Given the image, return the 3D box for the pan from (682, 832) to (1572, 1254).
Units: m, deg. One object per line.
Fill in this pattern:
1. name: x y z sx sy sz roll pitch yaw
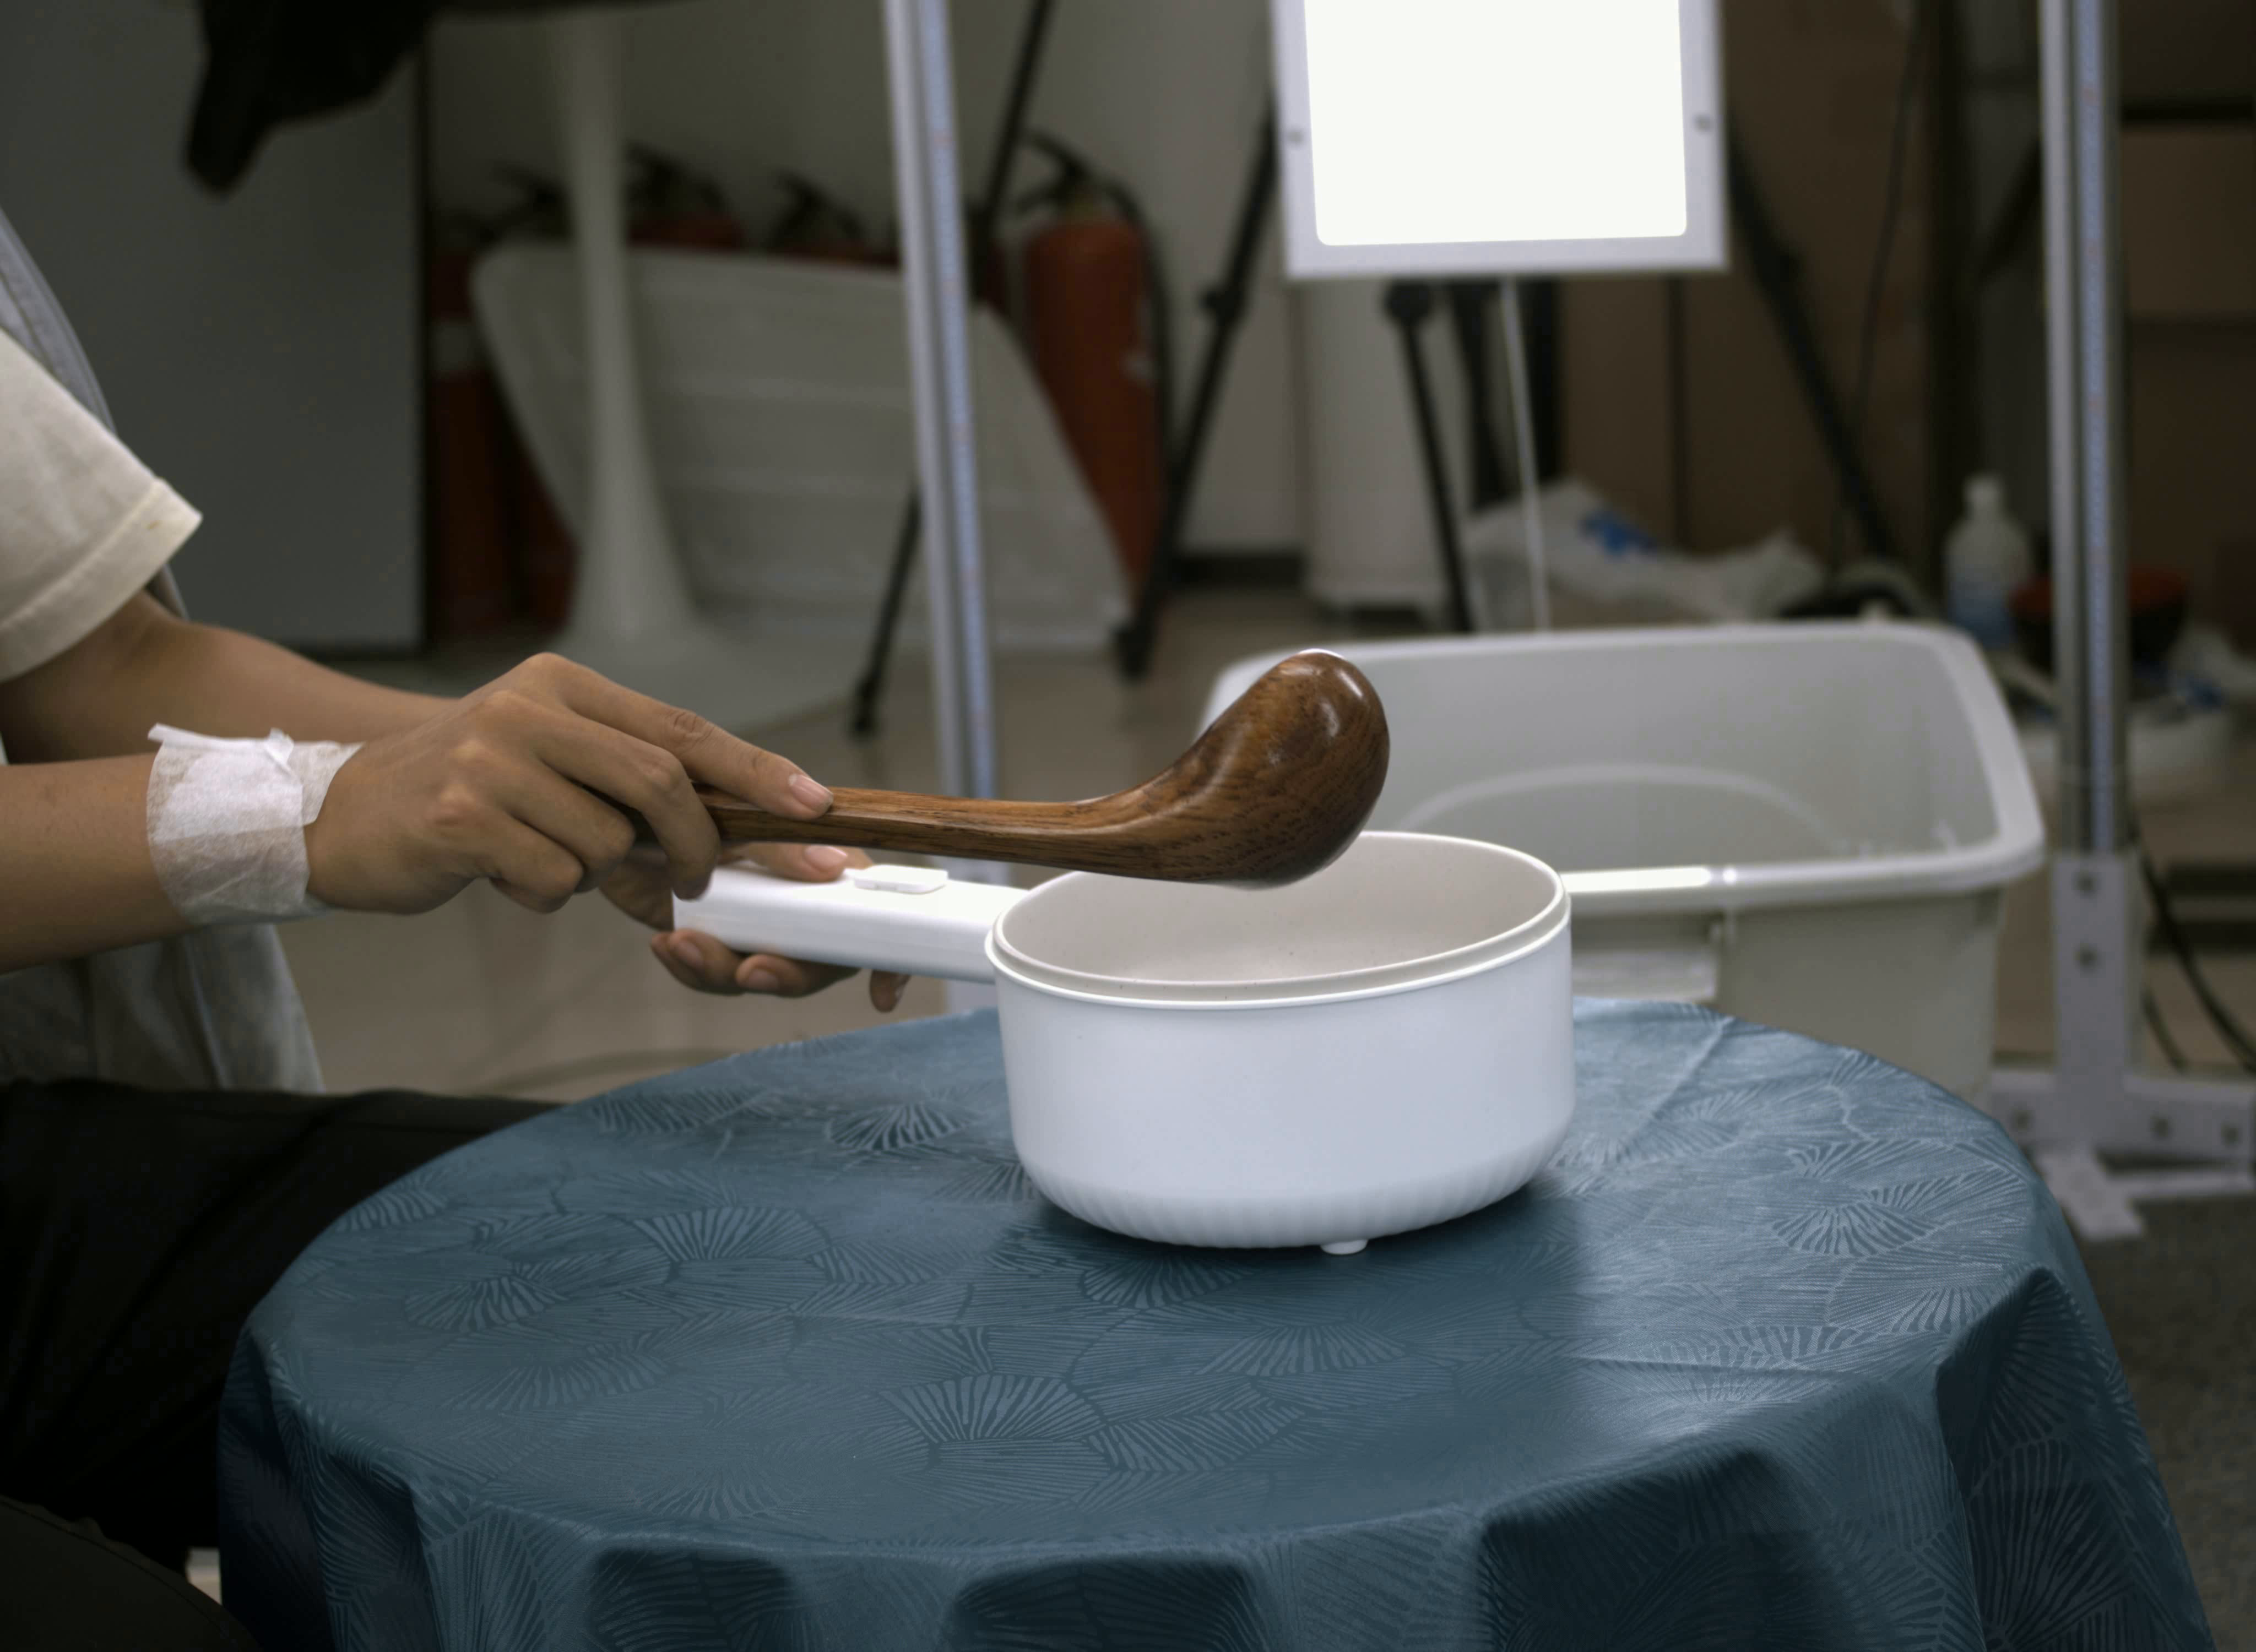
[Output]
1. pan: -0.008 0.070 1.922 0.362 0.102 0.196 5 17 37

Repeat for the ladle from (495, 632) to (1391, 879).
1. ladle: -0.056 -0.022 1.699 0.276 0.082 0.076 2 44 11
